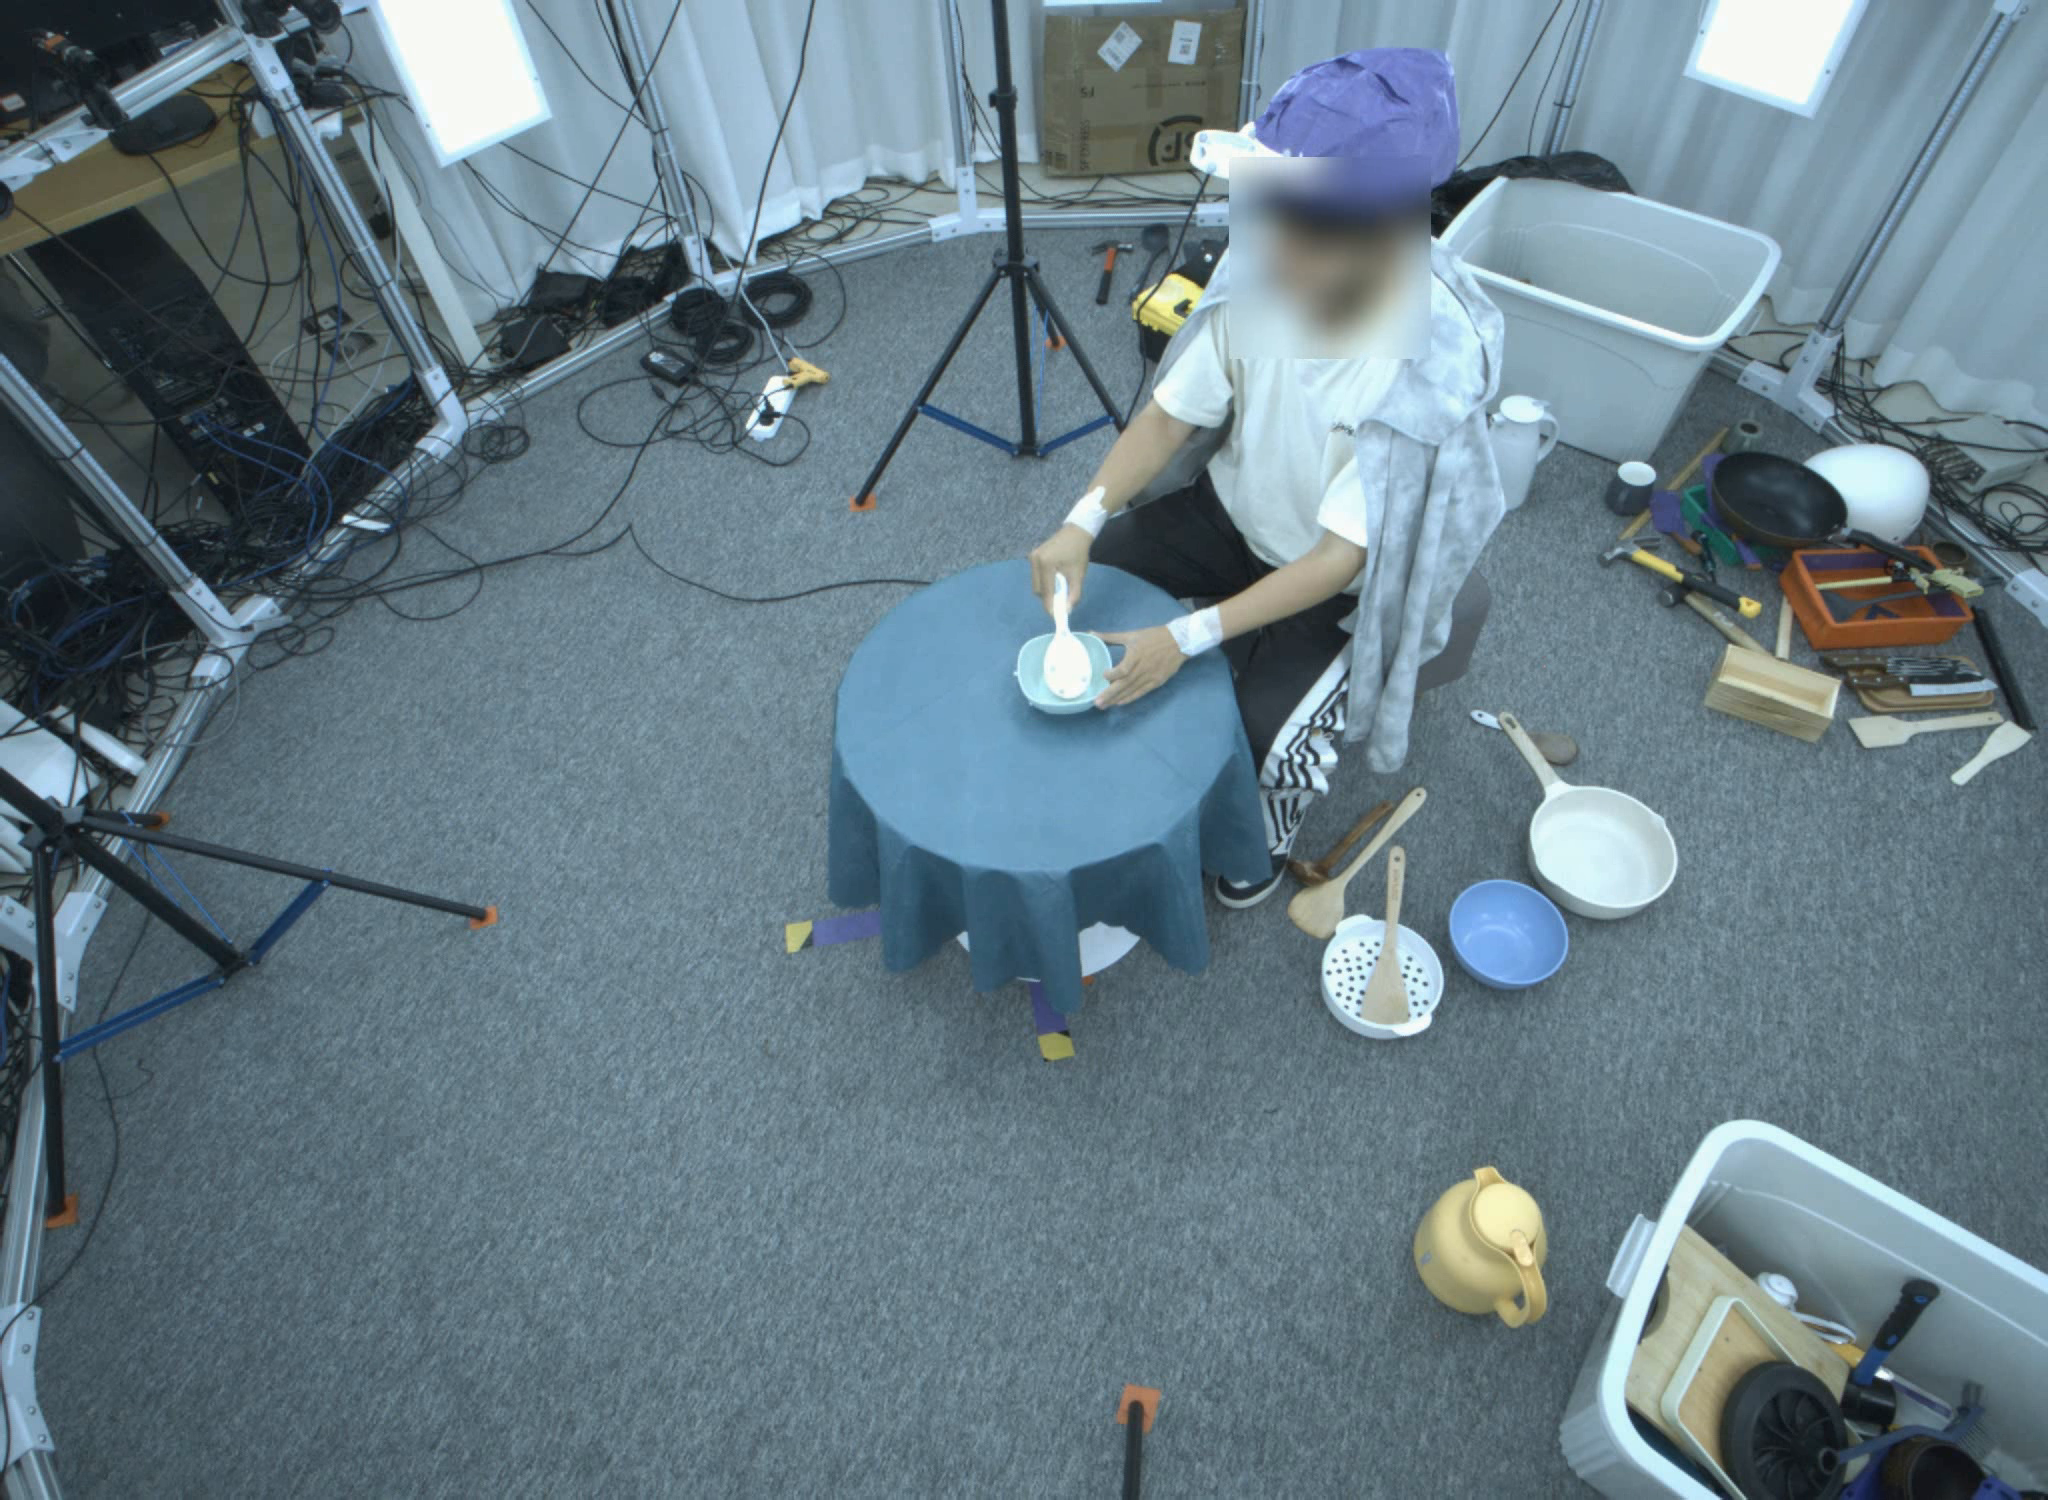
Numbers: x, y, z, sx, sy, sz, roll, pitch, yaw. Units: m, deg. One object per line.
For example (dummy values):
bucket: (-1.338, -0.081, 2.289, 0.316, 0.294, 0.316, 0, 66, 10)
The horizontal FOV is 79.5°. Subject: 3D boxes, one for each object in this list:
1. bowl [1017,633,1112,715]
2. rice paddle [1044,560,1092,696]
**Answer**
bowl: (0.062, -0.104, 1.827, 0.151, 0.059, 0.150, -1, 54, 3)
rice paddle: (0.058, -0.180, 1.825, 0.068, 0.029, 0.204, -9, 83, 9)
